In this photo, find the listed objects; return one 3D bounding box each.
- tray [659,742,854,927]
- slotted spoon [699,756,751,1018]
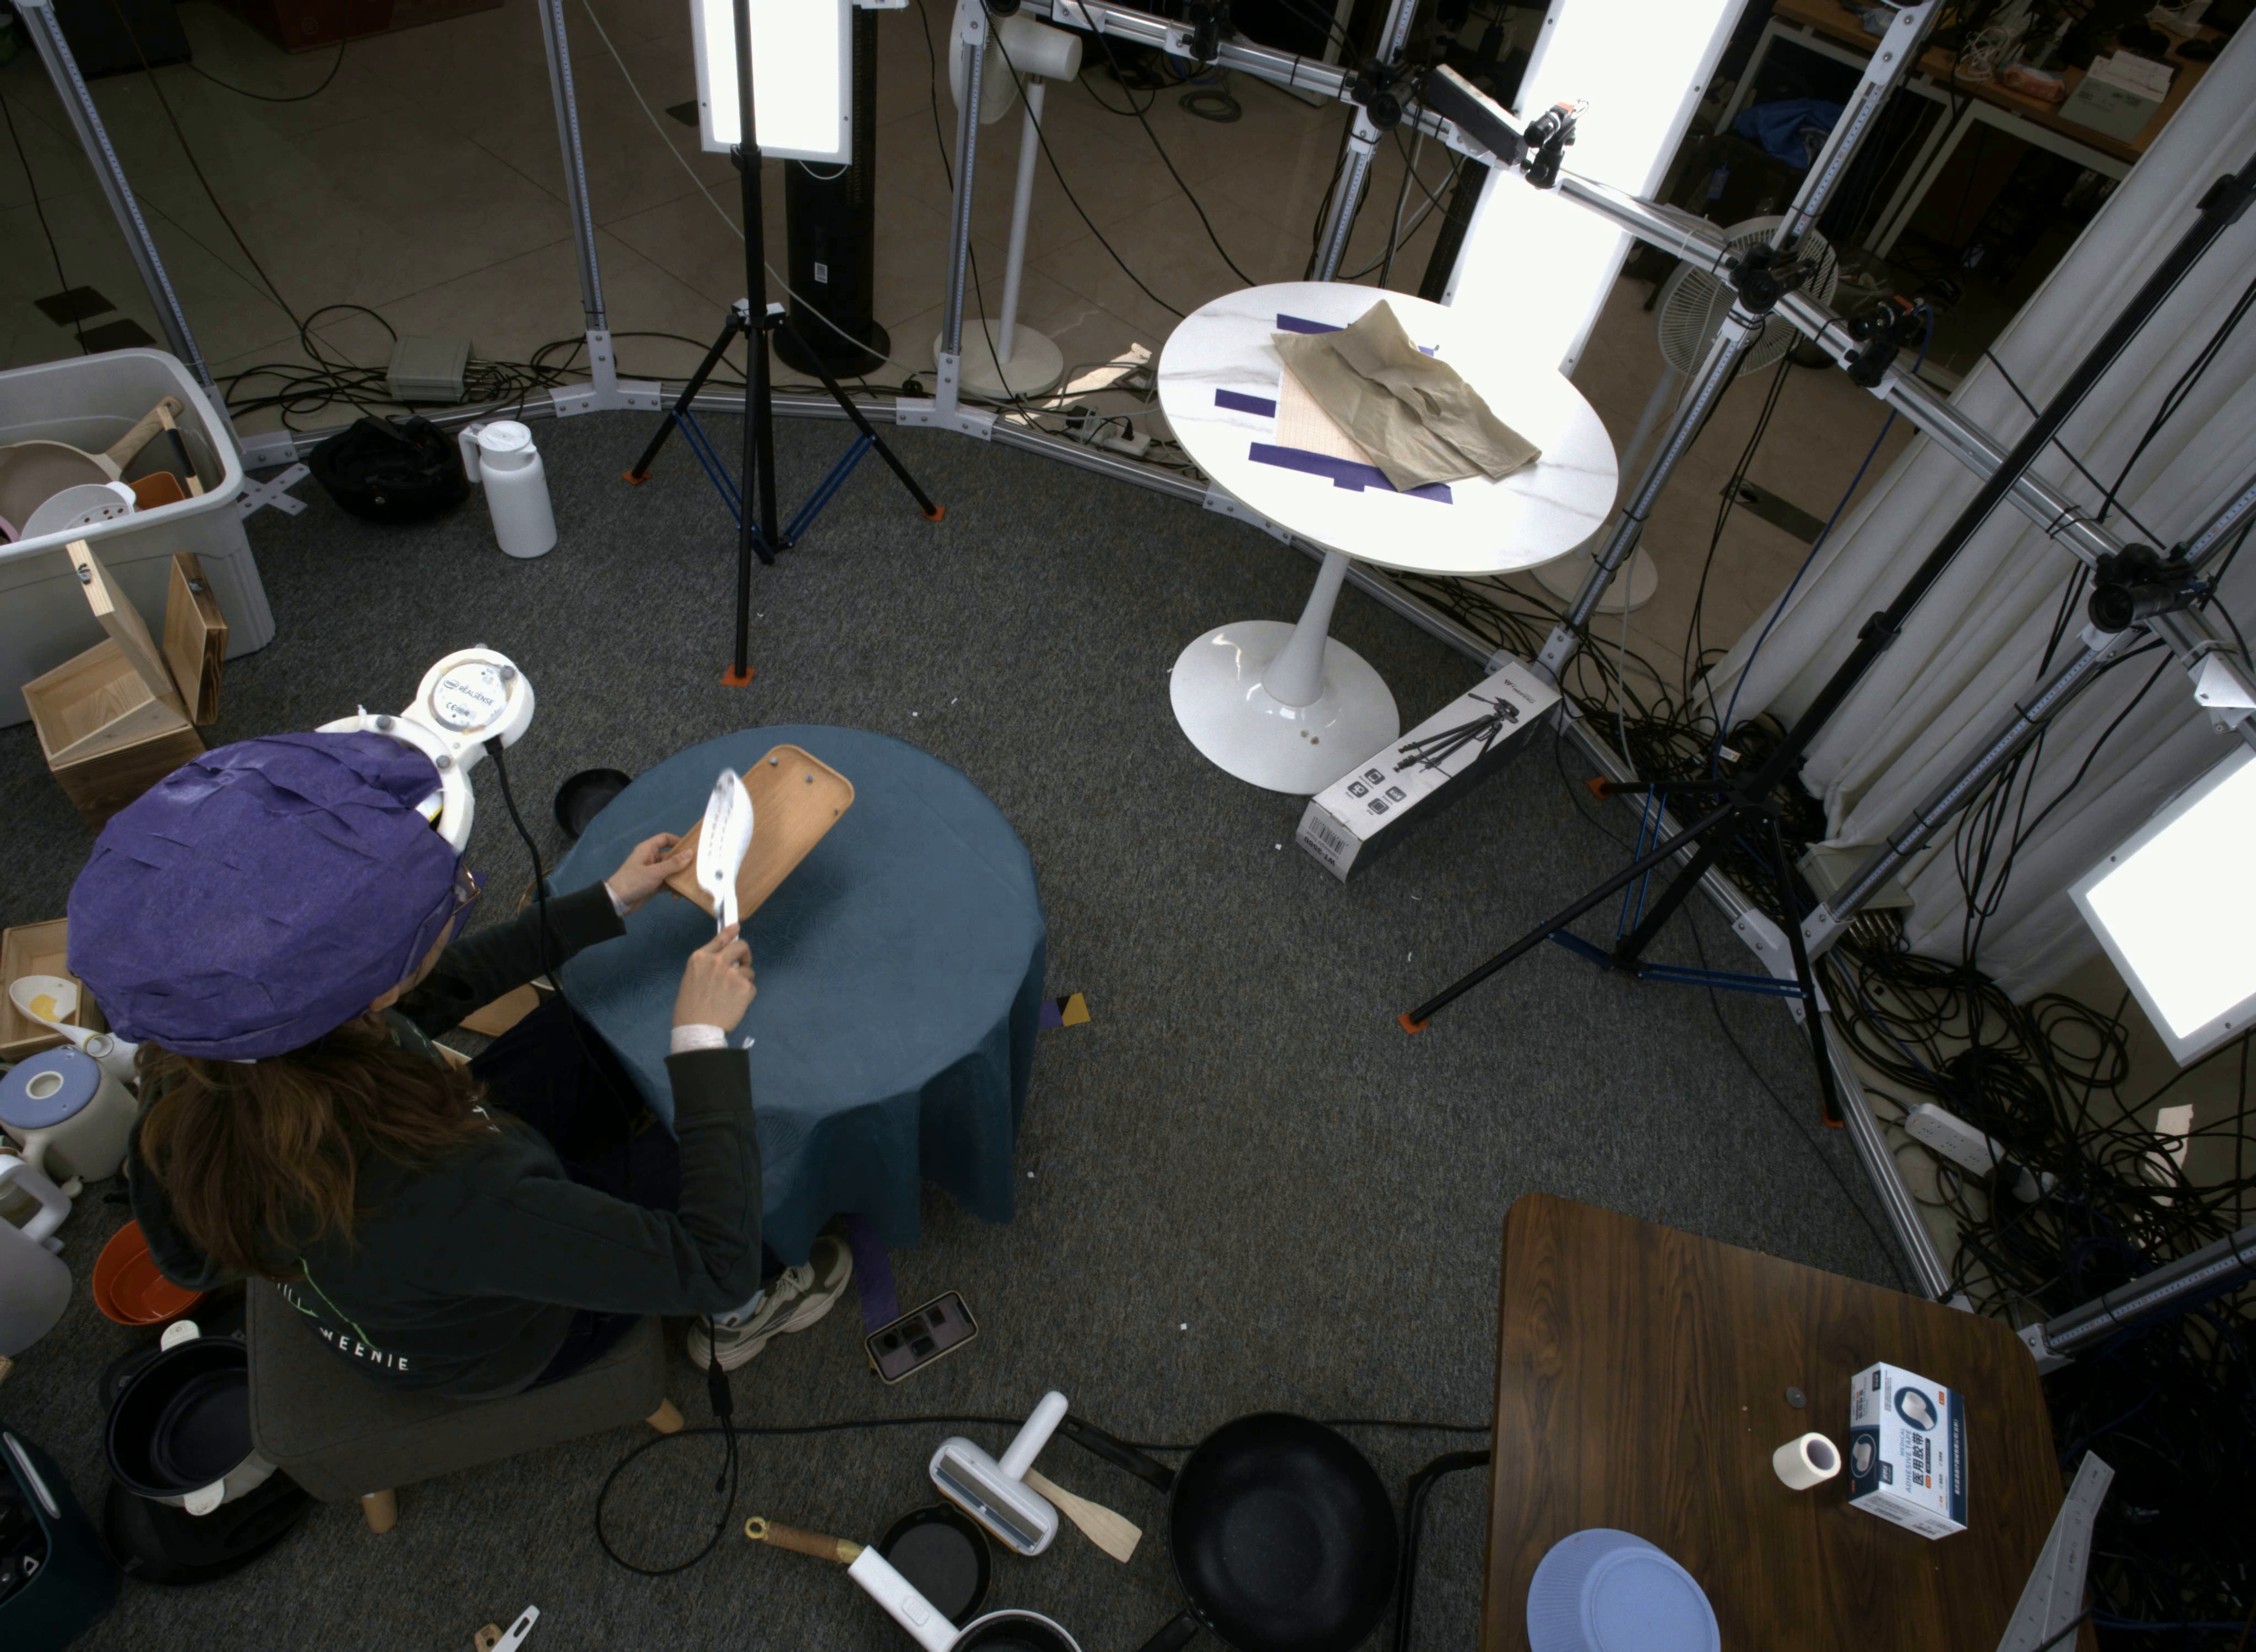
[{"bbox_3d":[-0.450,0.006,1.576,0.129,0.023,0.250,33,57,4],"label":"tray"},{"bbox_3d":[-0.432,0.062,1.379,0.046,0.137,0.340,14,37,-24],"label":"slotted spoon"}]
